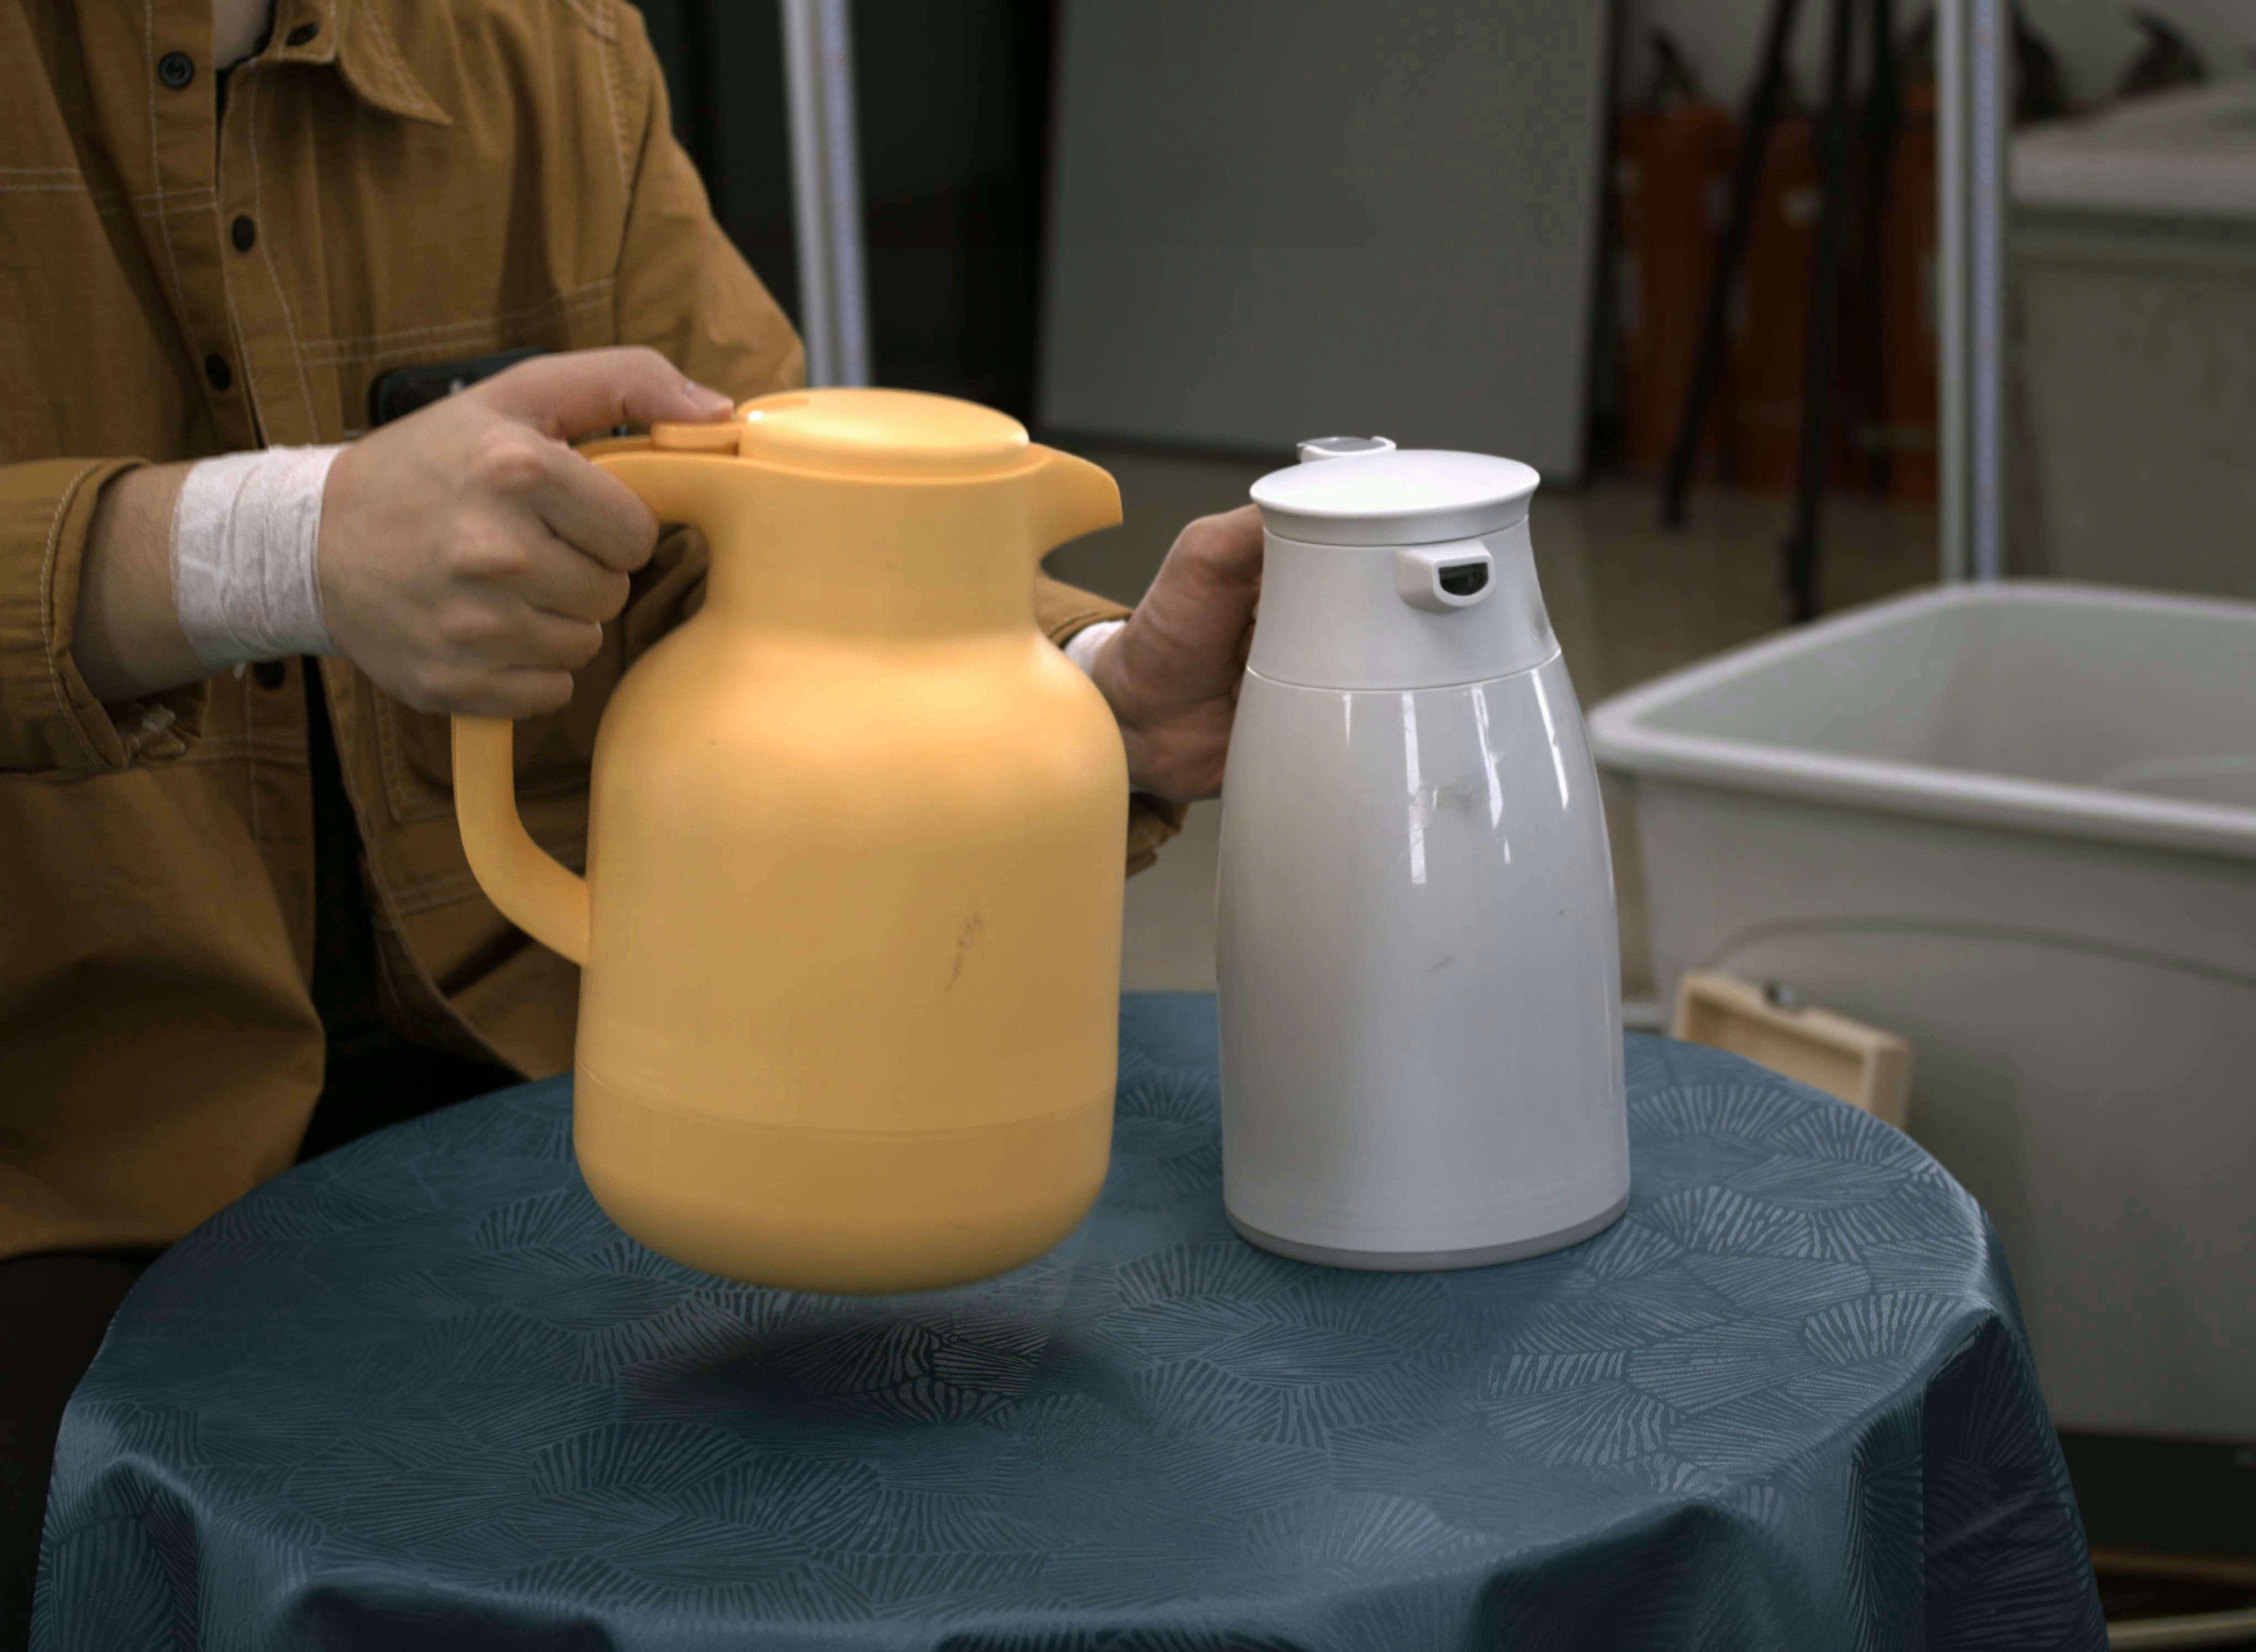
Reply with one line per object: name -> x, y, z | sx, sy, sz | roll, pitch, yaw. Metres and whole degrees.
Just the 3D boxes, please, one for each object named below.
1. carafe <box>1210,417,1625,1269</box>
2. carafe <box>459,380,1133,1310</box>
carafe -> 0.082, -0.002, 1.725 | 0.130, 0.251, 0.169 | -8, 14, -16
carafe -> -0.098, 0.001, 1.595 | 0.199, 0.263, 0.164 | 2, 10, -7
